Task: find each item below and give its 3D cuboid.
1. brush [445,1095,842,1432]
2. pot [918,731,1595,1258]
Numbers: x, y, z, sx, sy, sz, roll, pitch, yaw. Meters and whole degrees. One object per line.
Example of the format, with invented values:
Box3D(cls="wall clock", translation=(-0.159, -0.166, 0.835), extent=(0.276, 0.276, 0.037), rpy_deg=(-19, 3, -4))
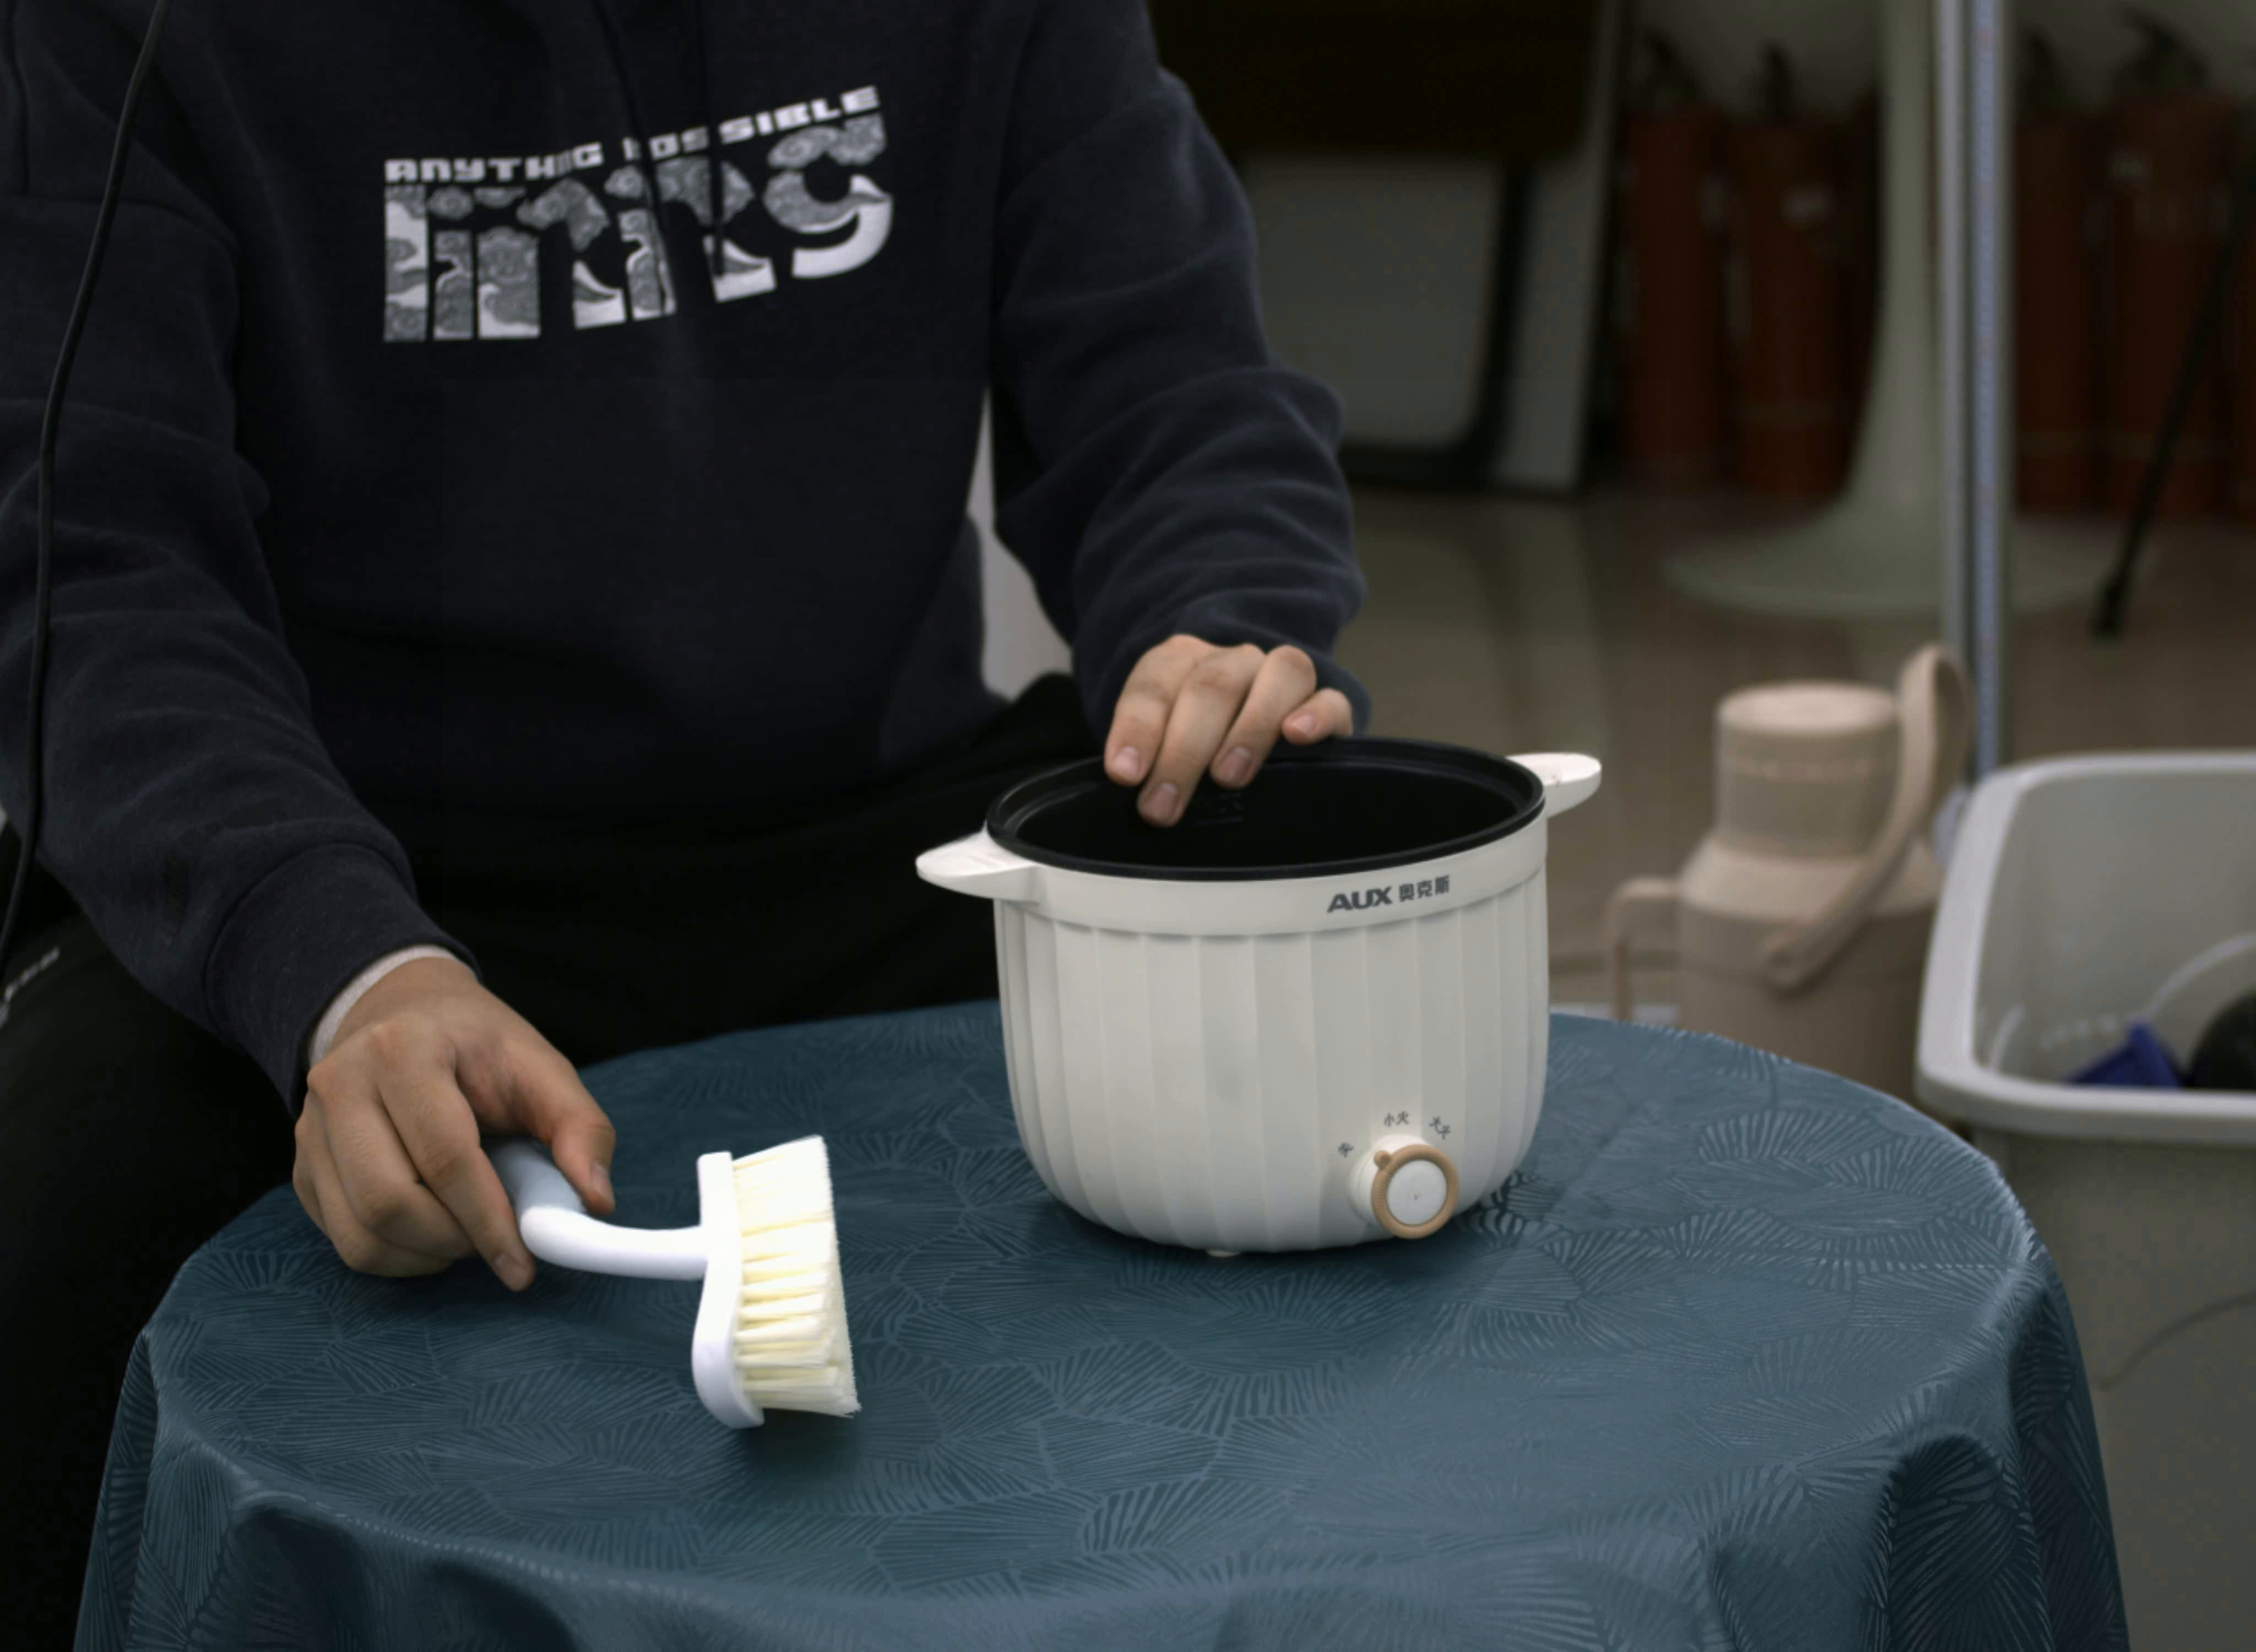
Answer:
Box3D(cls="brush", translation=(-0.134, 0.118, 1.672), extent=(0.083, 0.083, 0.328), rpy_deg=(30, 0, -20))
Box3D(cls="pot", translation=(0.051, 0.055, 1.735), extent=(0.235, 0.144, 0.192), rpy_deg=(-10, 12, -21))
